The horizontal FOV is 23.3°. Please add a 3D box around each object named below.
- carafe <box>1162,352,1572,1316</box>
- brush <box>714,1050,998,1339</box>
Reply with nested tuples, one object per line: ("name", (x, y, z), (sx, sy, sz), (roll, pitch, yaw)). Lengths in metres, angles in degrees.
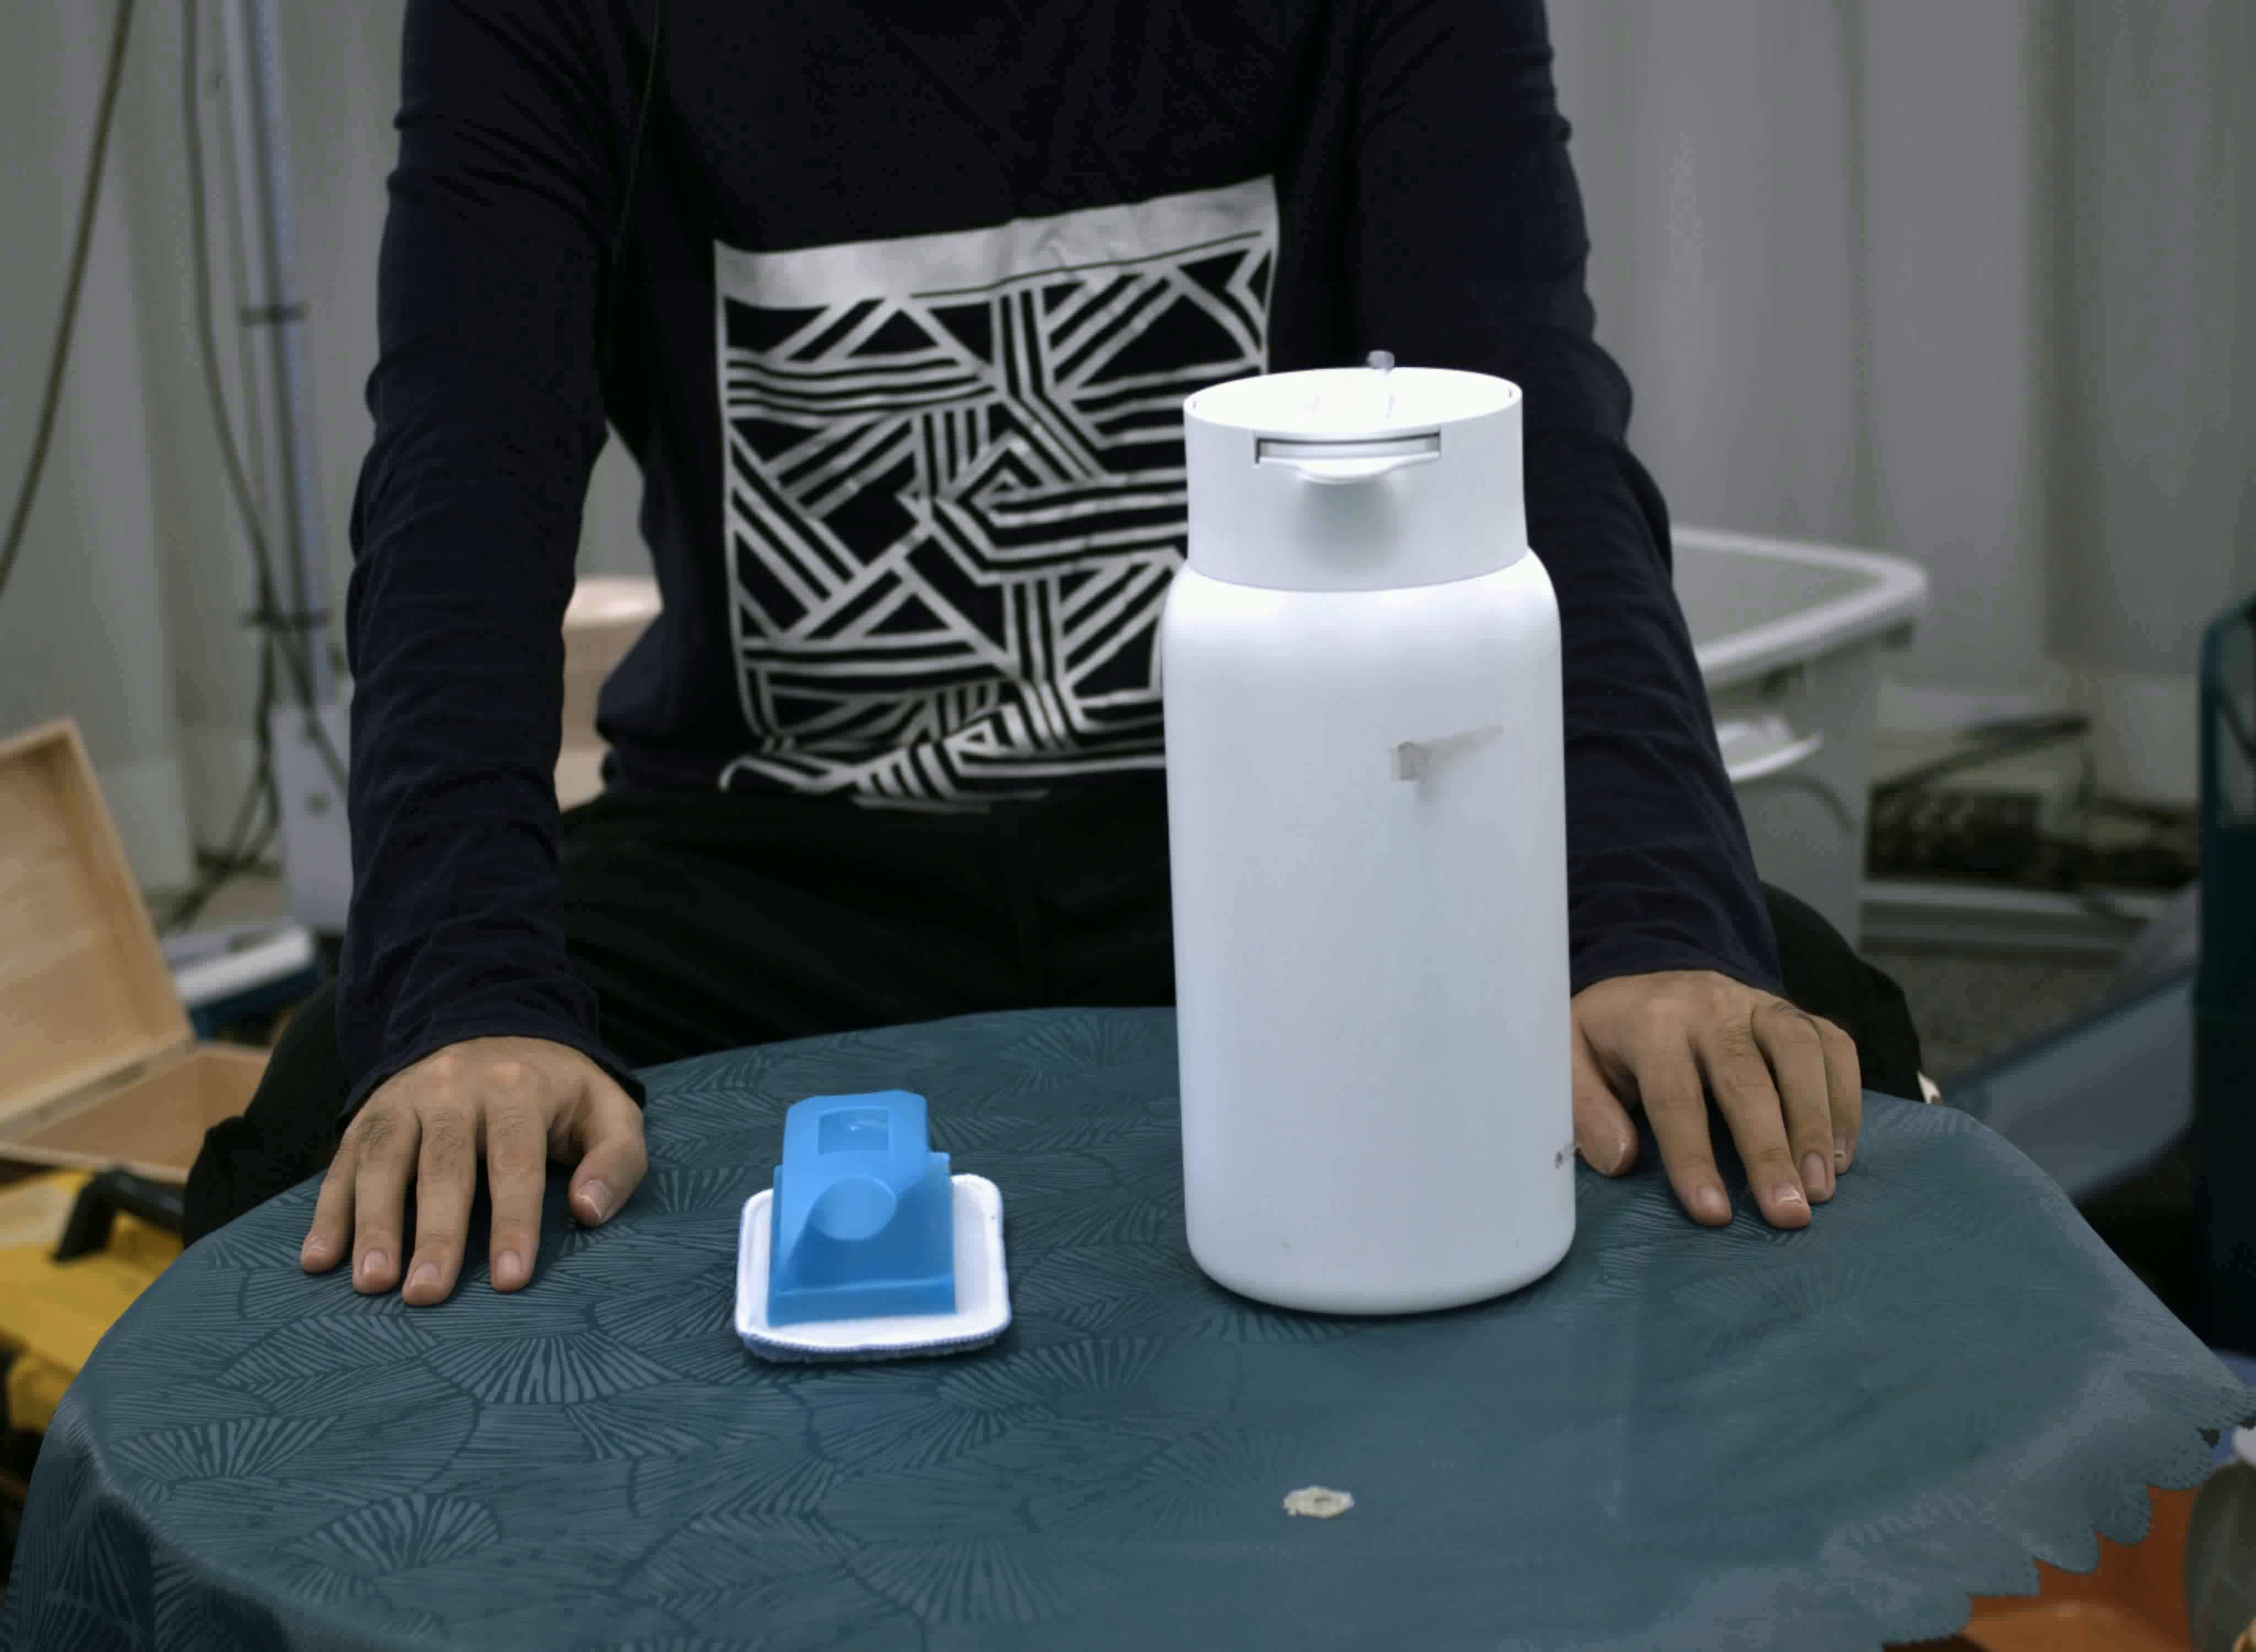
("carafe", (0.070, -0.002, 1.627), (0.123, 0.268, 0.174), (-4, 13, 4))
("brush", (-0.081, 0.107, 1.639), (0.083, 0.055, 0.145), (0, 18, -1))
